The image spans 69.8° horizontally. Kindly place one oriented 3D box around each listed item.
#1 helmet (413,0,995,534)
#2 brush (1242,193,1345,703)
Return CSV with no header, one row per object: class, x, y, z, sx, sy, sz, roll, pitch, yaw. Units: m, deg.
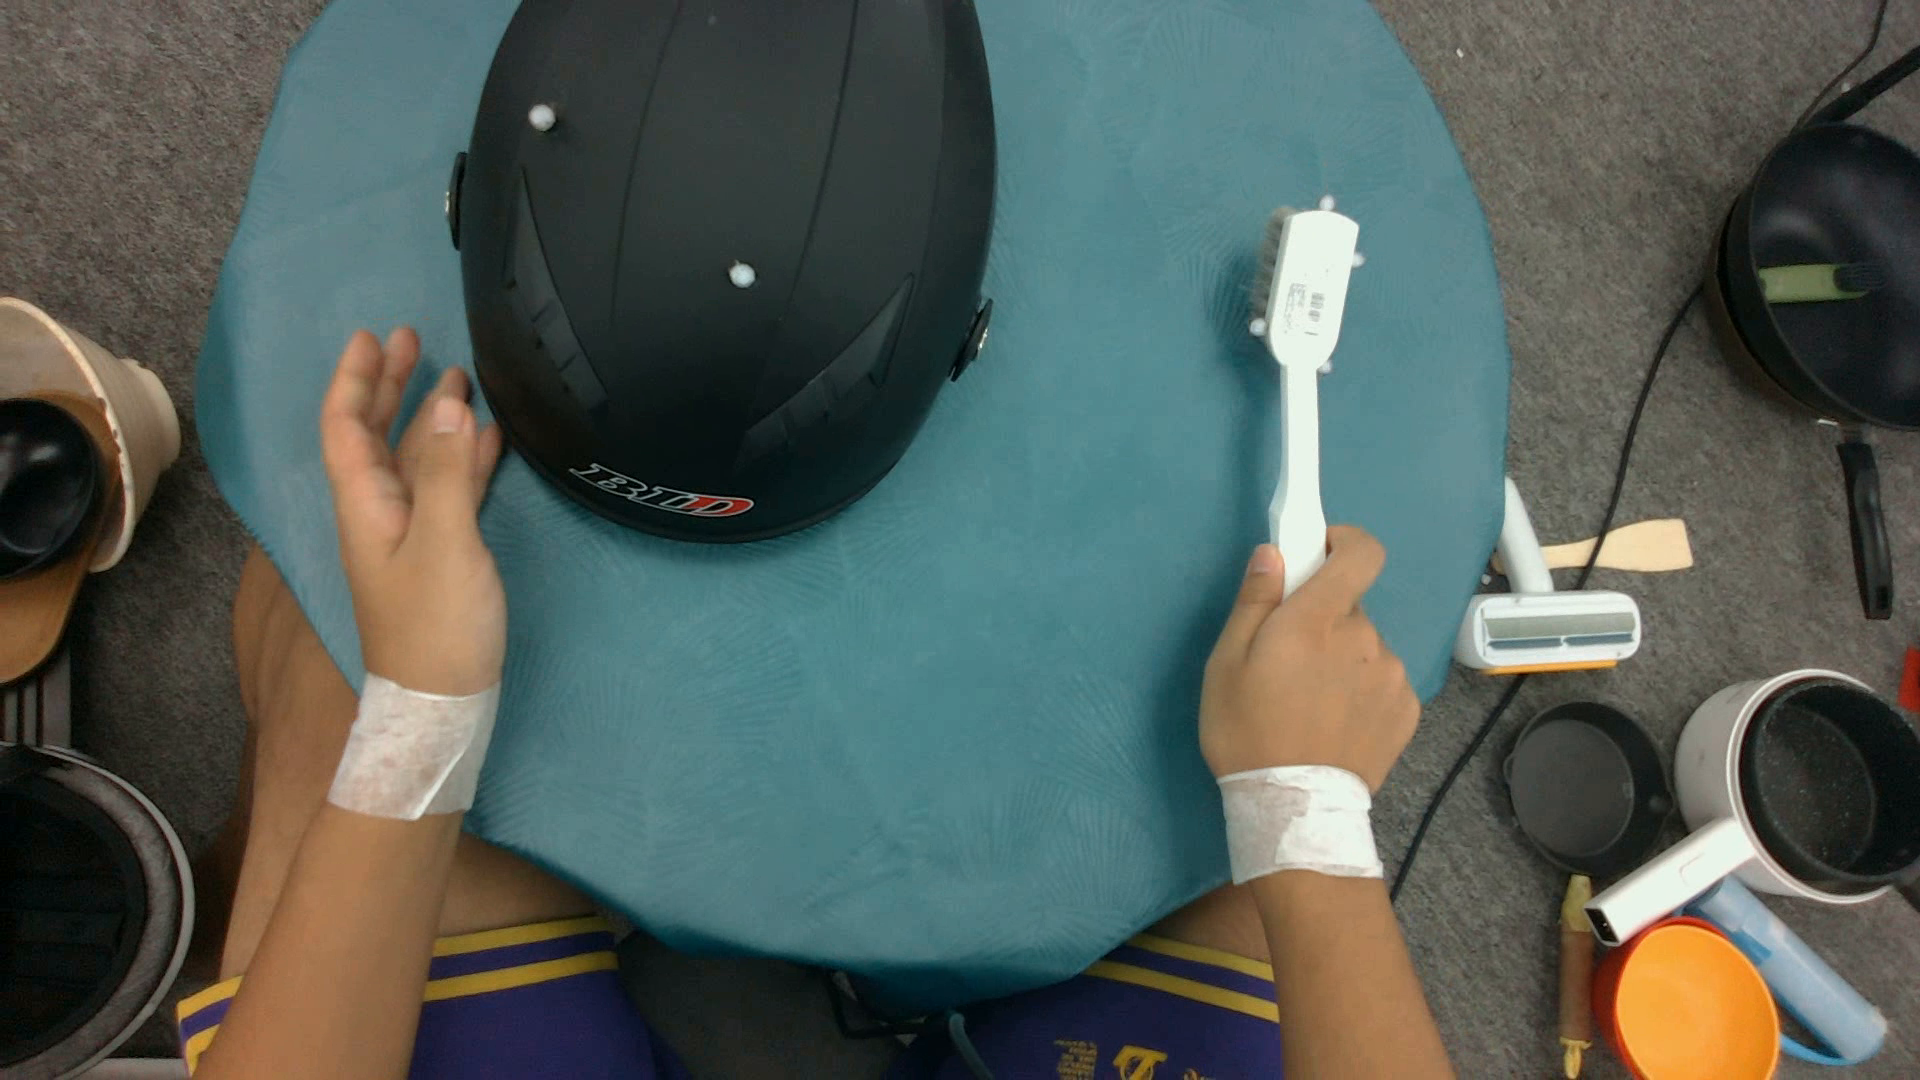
helmet,-0.098,-0.152,0.556,0.247,0.172,0.277,14,74,-8
brush,0.150,-0.046,0.647,0.034,0.050,0.244,5,85,-9
